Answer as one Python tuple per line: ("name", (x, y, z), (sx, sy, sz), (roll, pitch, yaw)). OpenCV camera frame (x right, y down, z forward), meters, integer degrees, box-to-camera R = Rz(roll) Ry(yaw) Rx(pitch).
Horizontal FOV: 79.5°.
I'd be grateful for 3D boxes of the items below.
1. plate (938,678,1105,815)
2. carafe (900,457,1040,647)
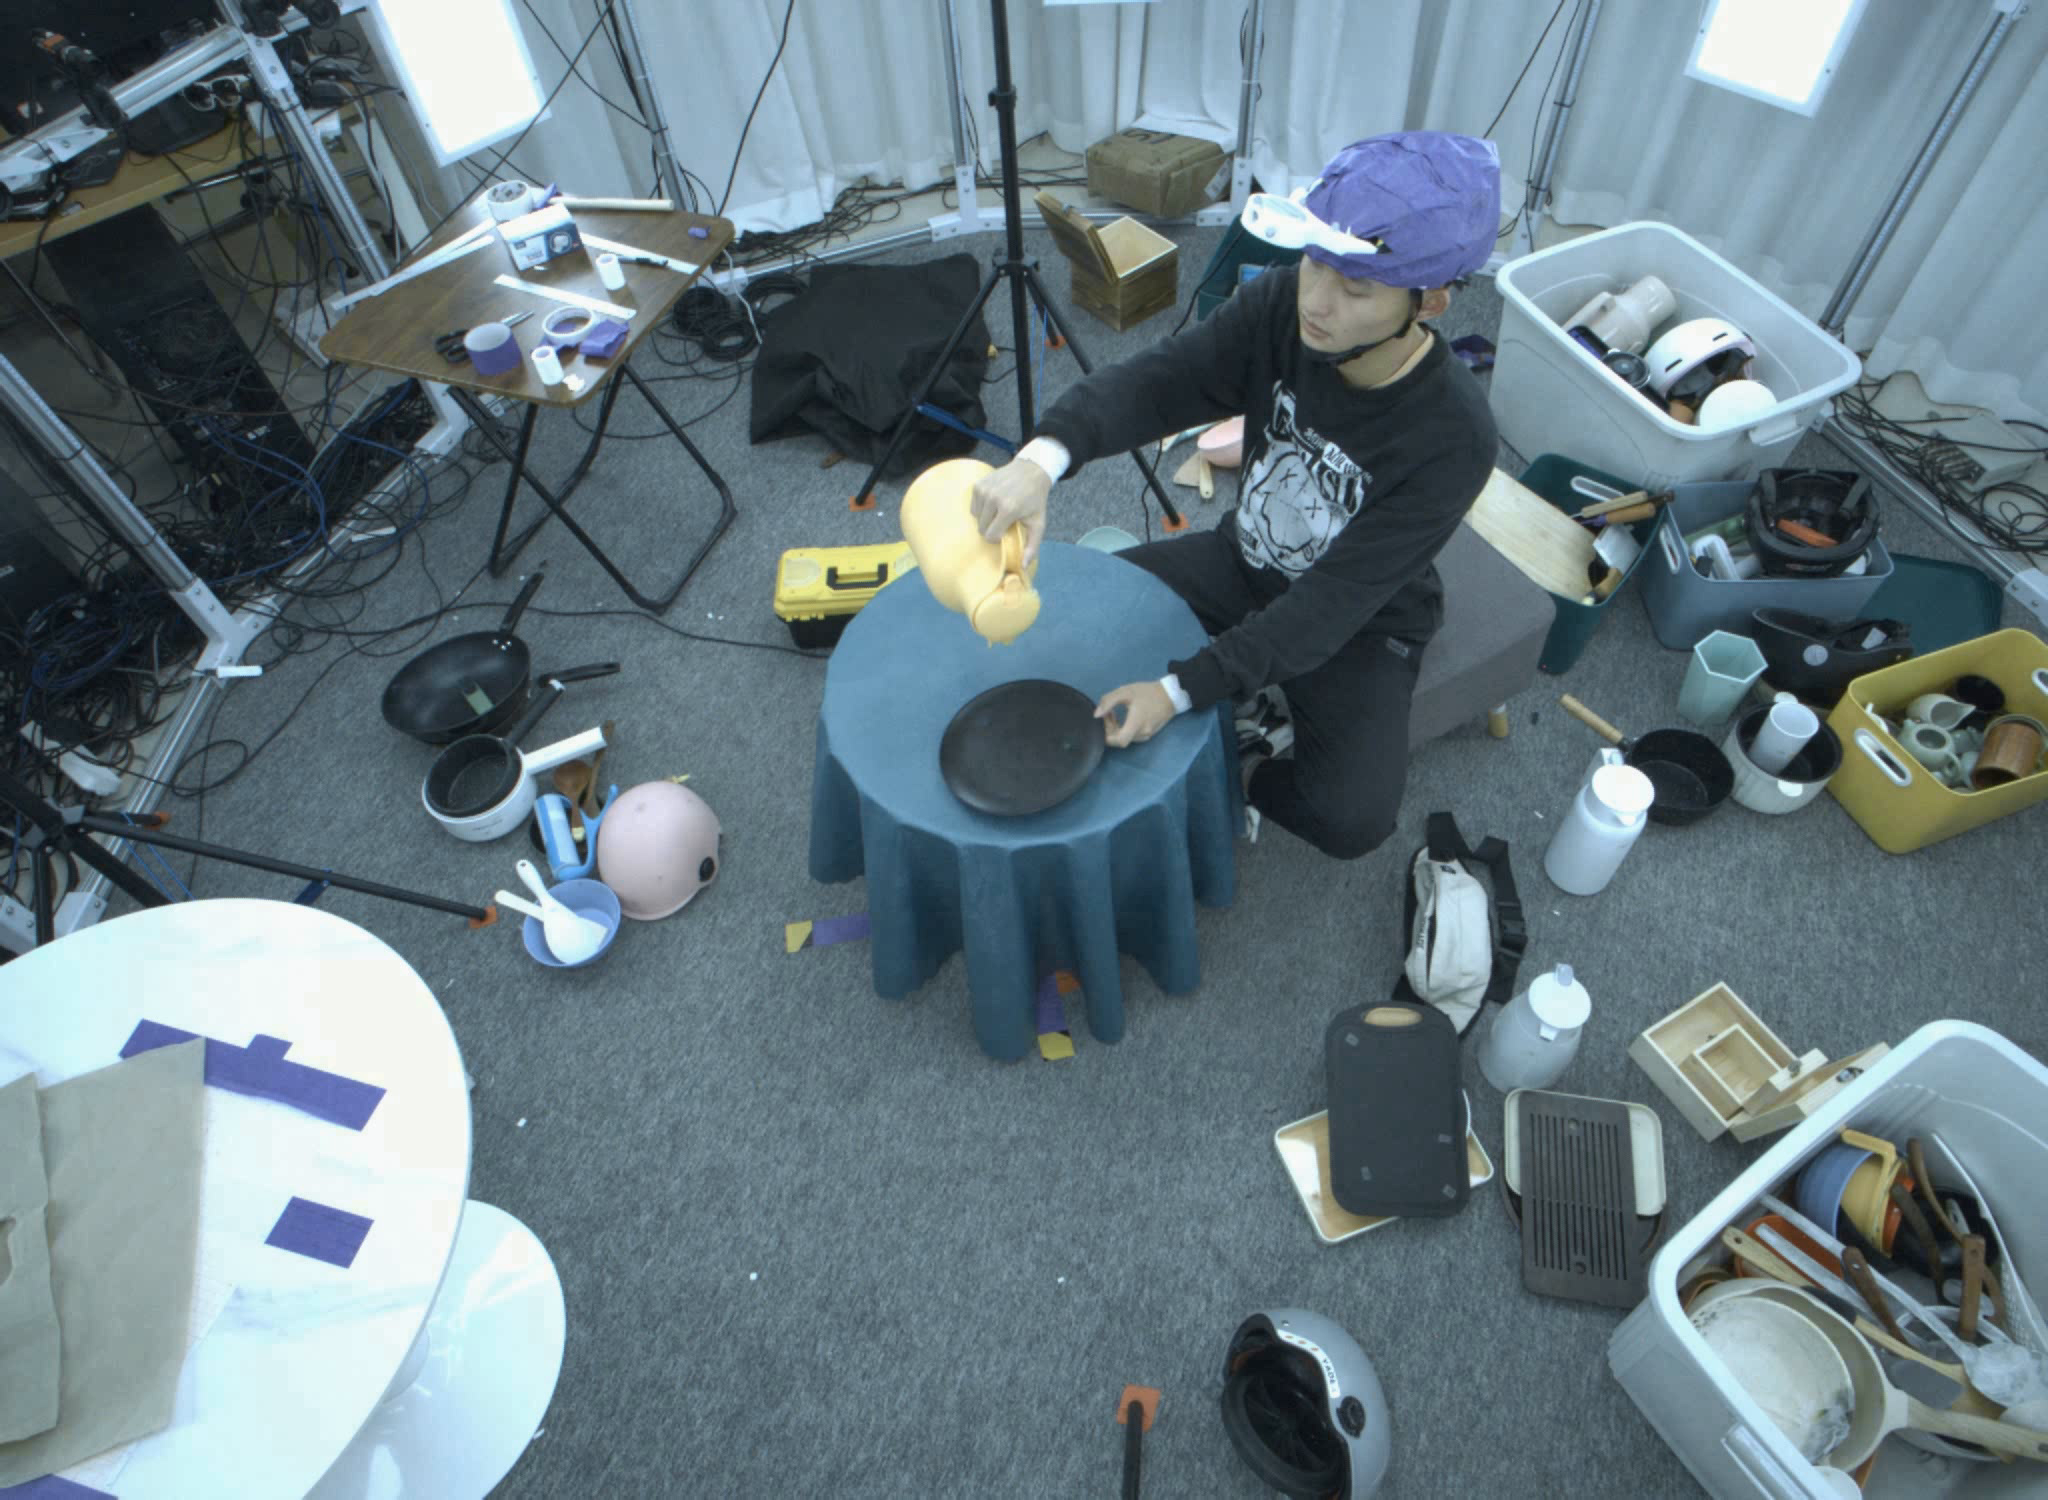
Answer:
("plate", (-0.003, -0.004, 1.757), (0.243, 0.024, 0.242), (-5, 53, 8))
("carafe", (-0.058, -0.281, 1.644), (0.166, 0.203, 0.256), (-10, 55, -24))
